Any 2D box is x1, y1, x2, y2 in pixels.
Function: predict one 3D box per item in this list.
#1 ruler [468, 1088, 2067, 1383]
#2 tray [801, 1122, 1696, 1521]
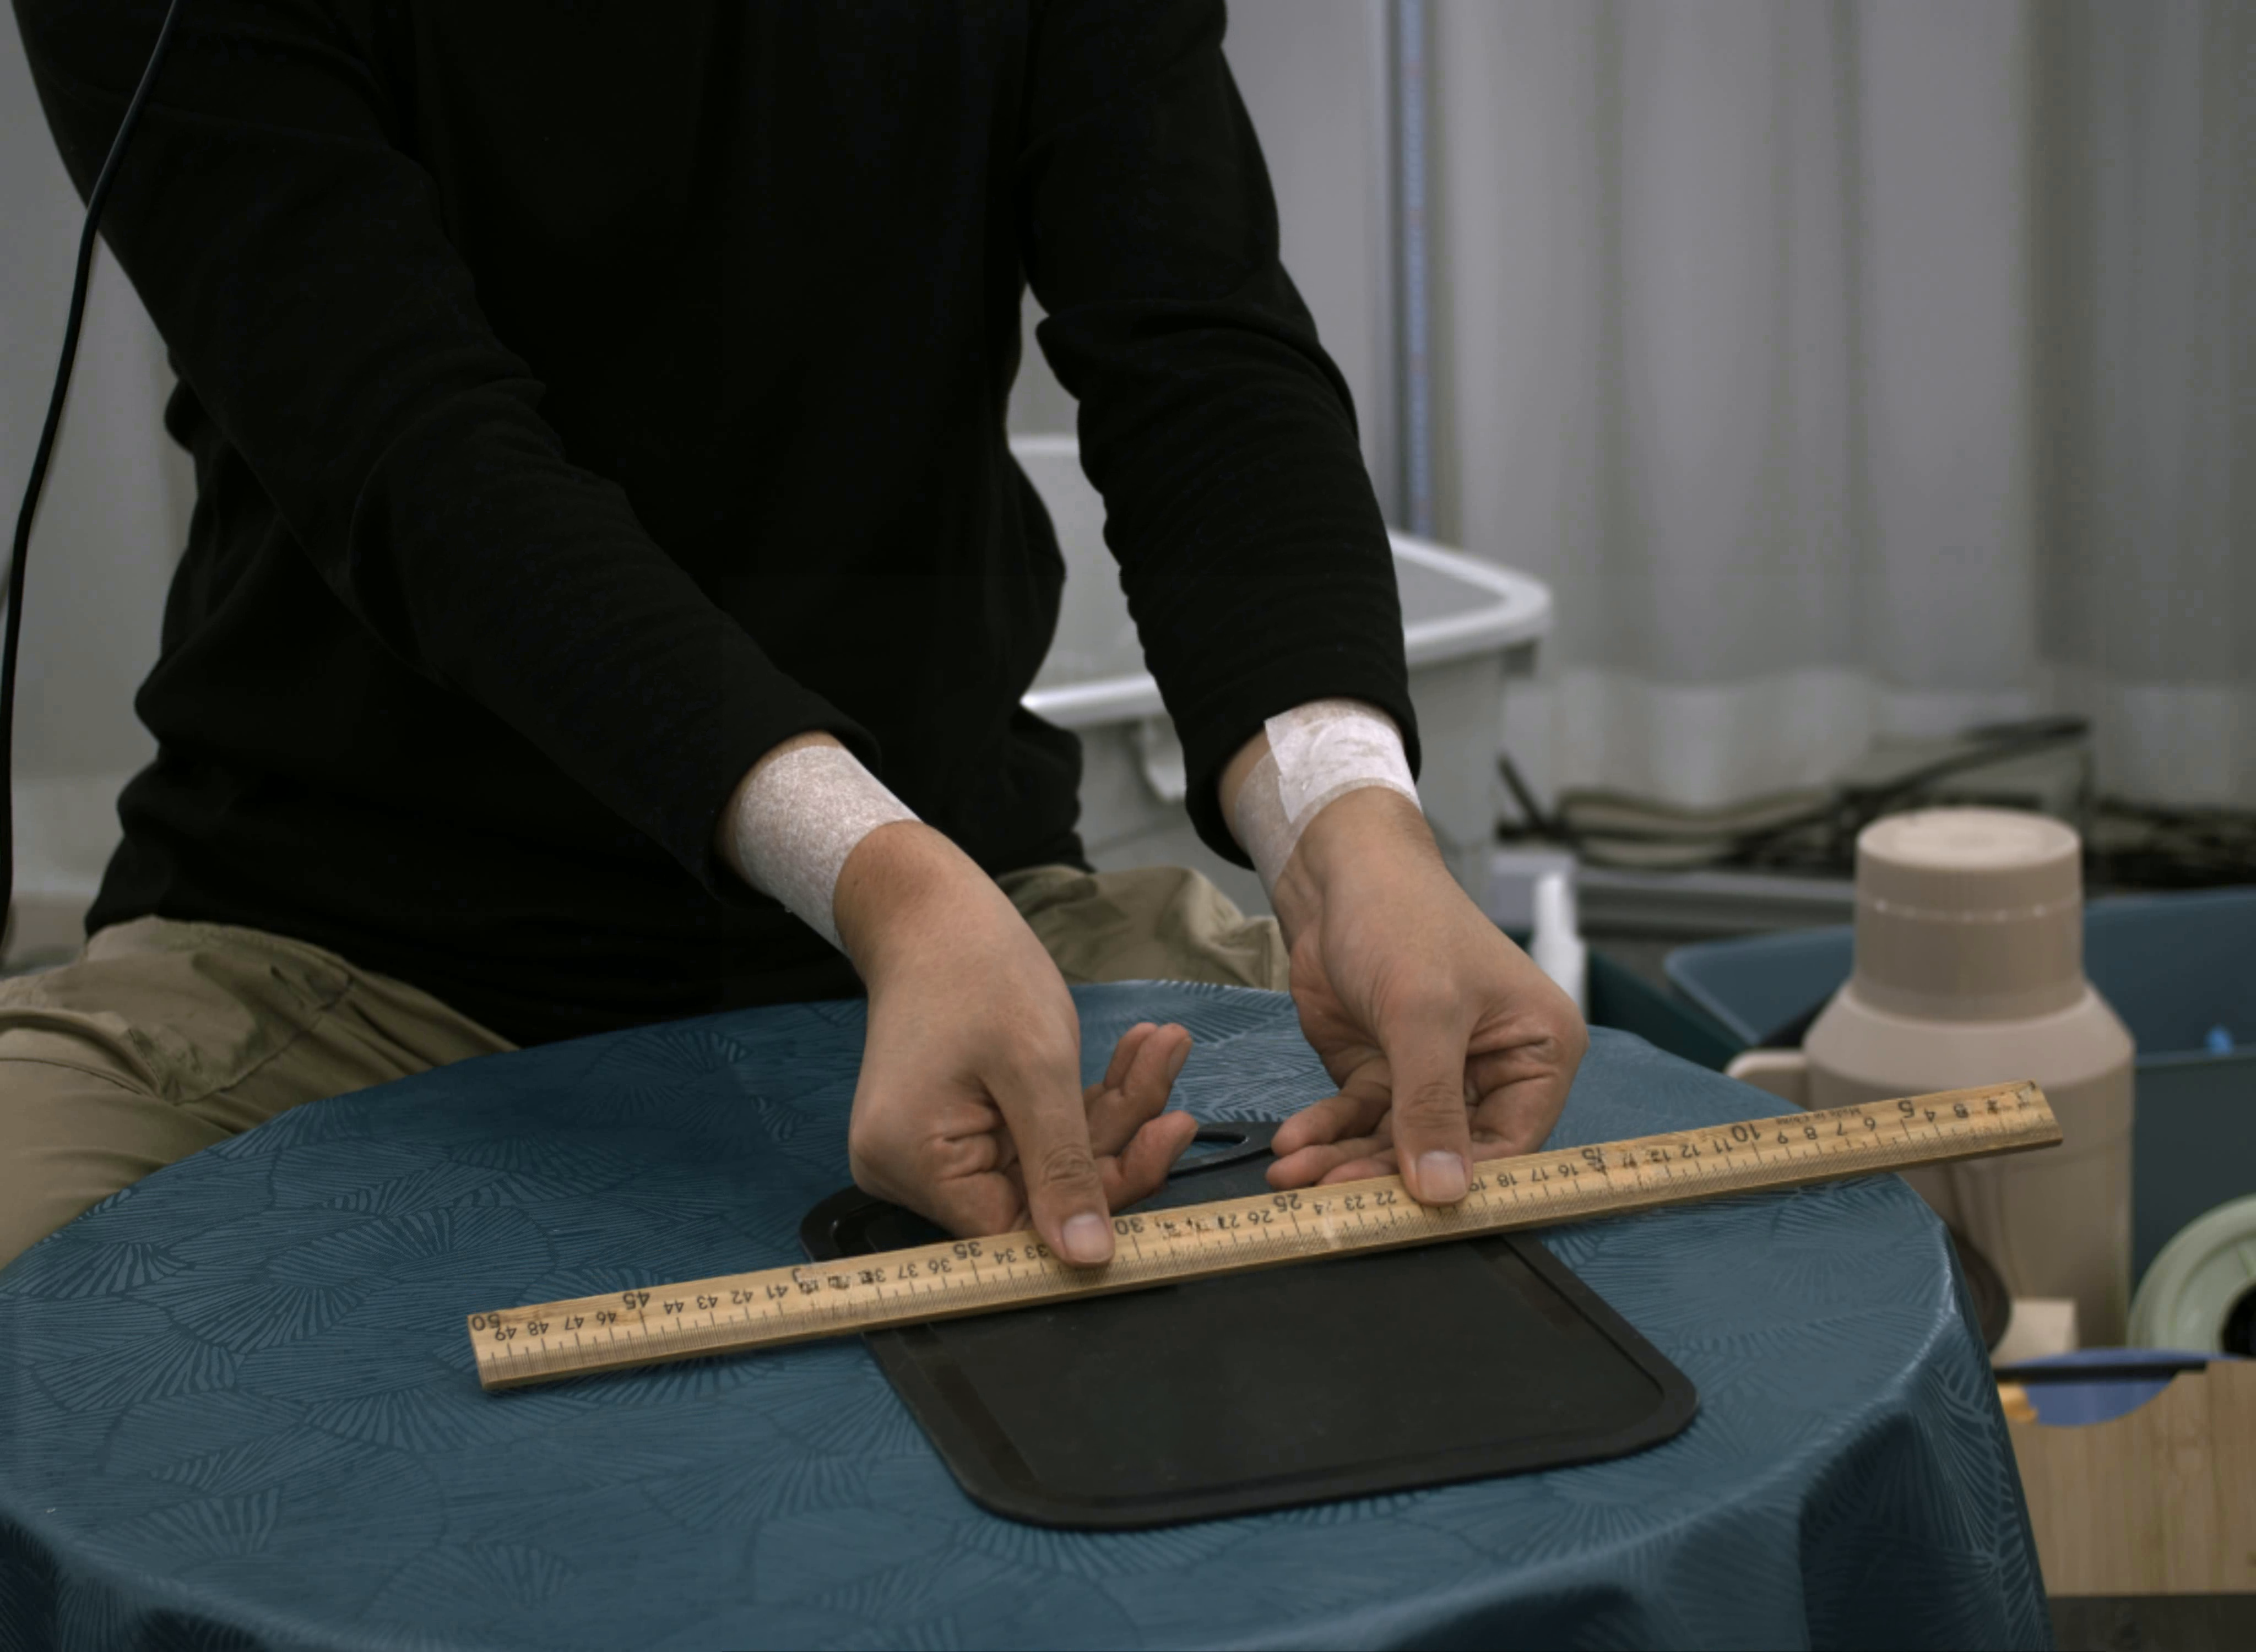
[{"bbox_3d":[0.050,0.120,1.637,0.498,0.006,0.027,-7,47,-15],"label":"ruler"},{"bbox_3d":[0.025,0.138,1.608,0.210,0.010,0.328,-6,15,-13],"label":"tray"}]
